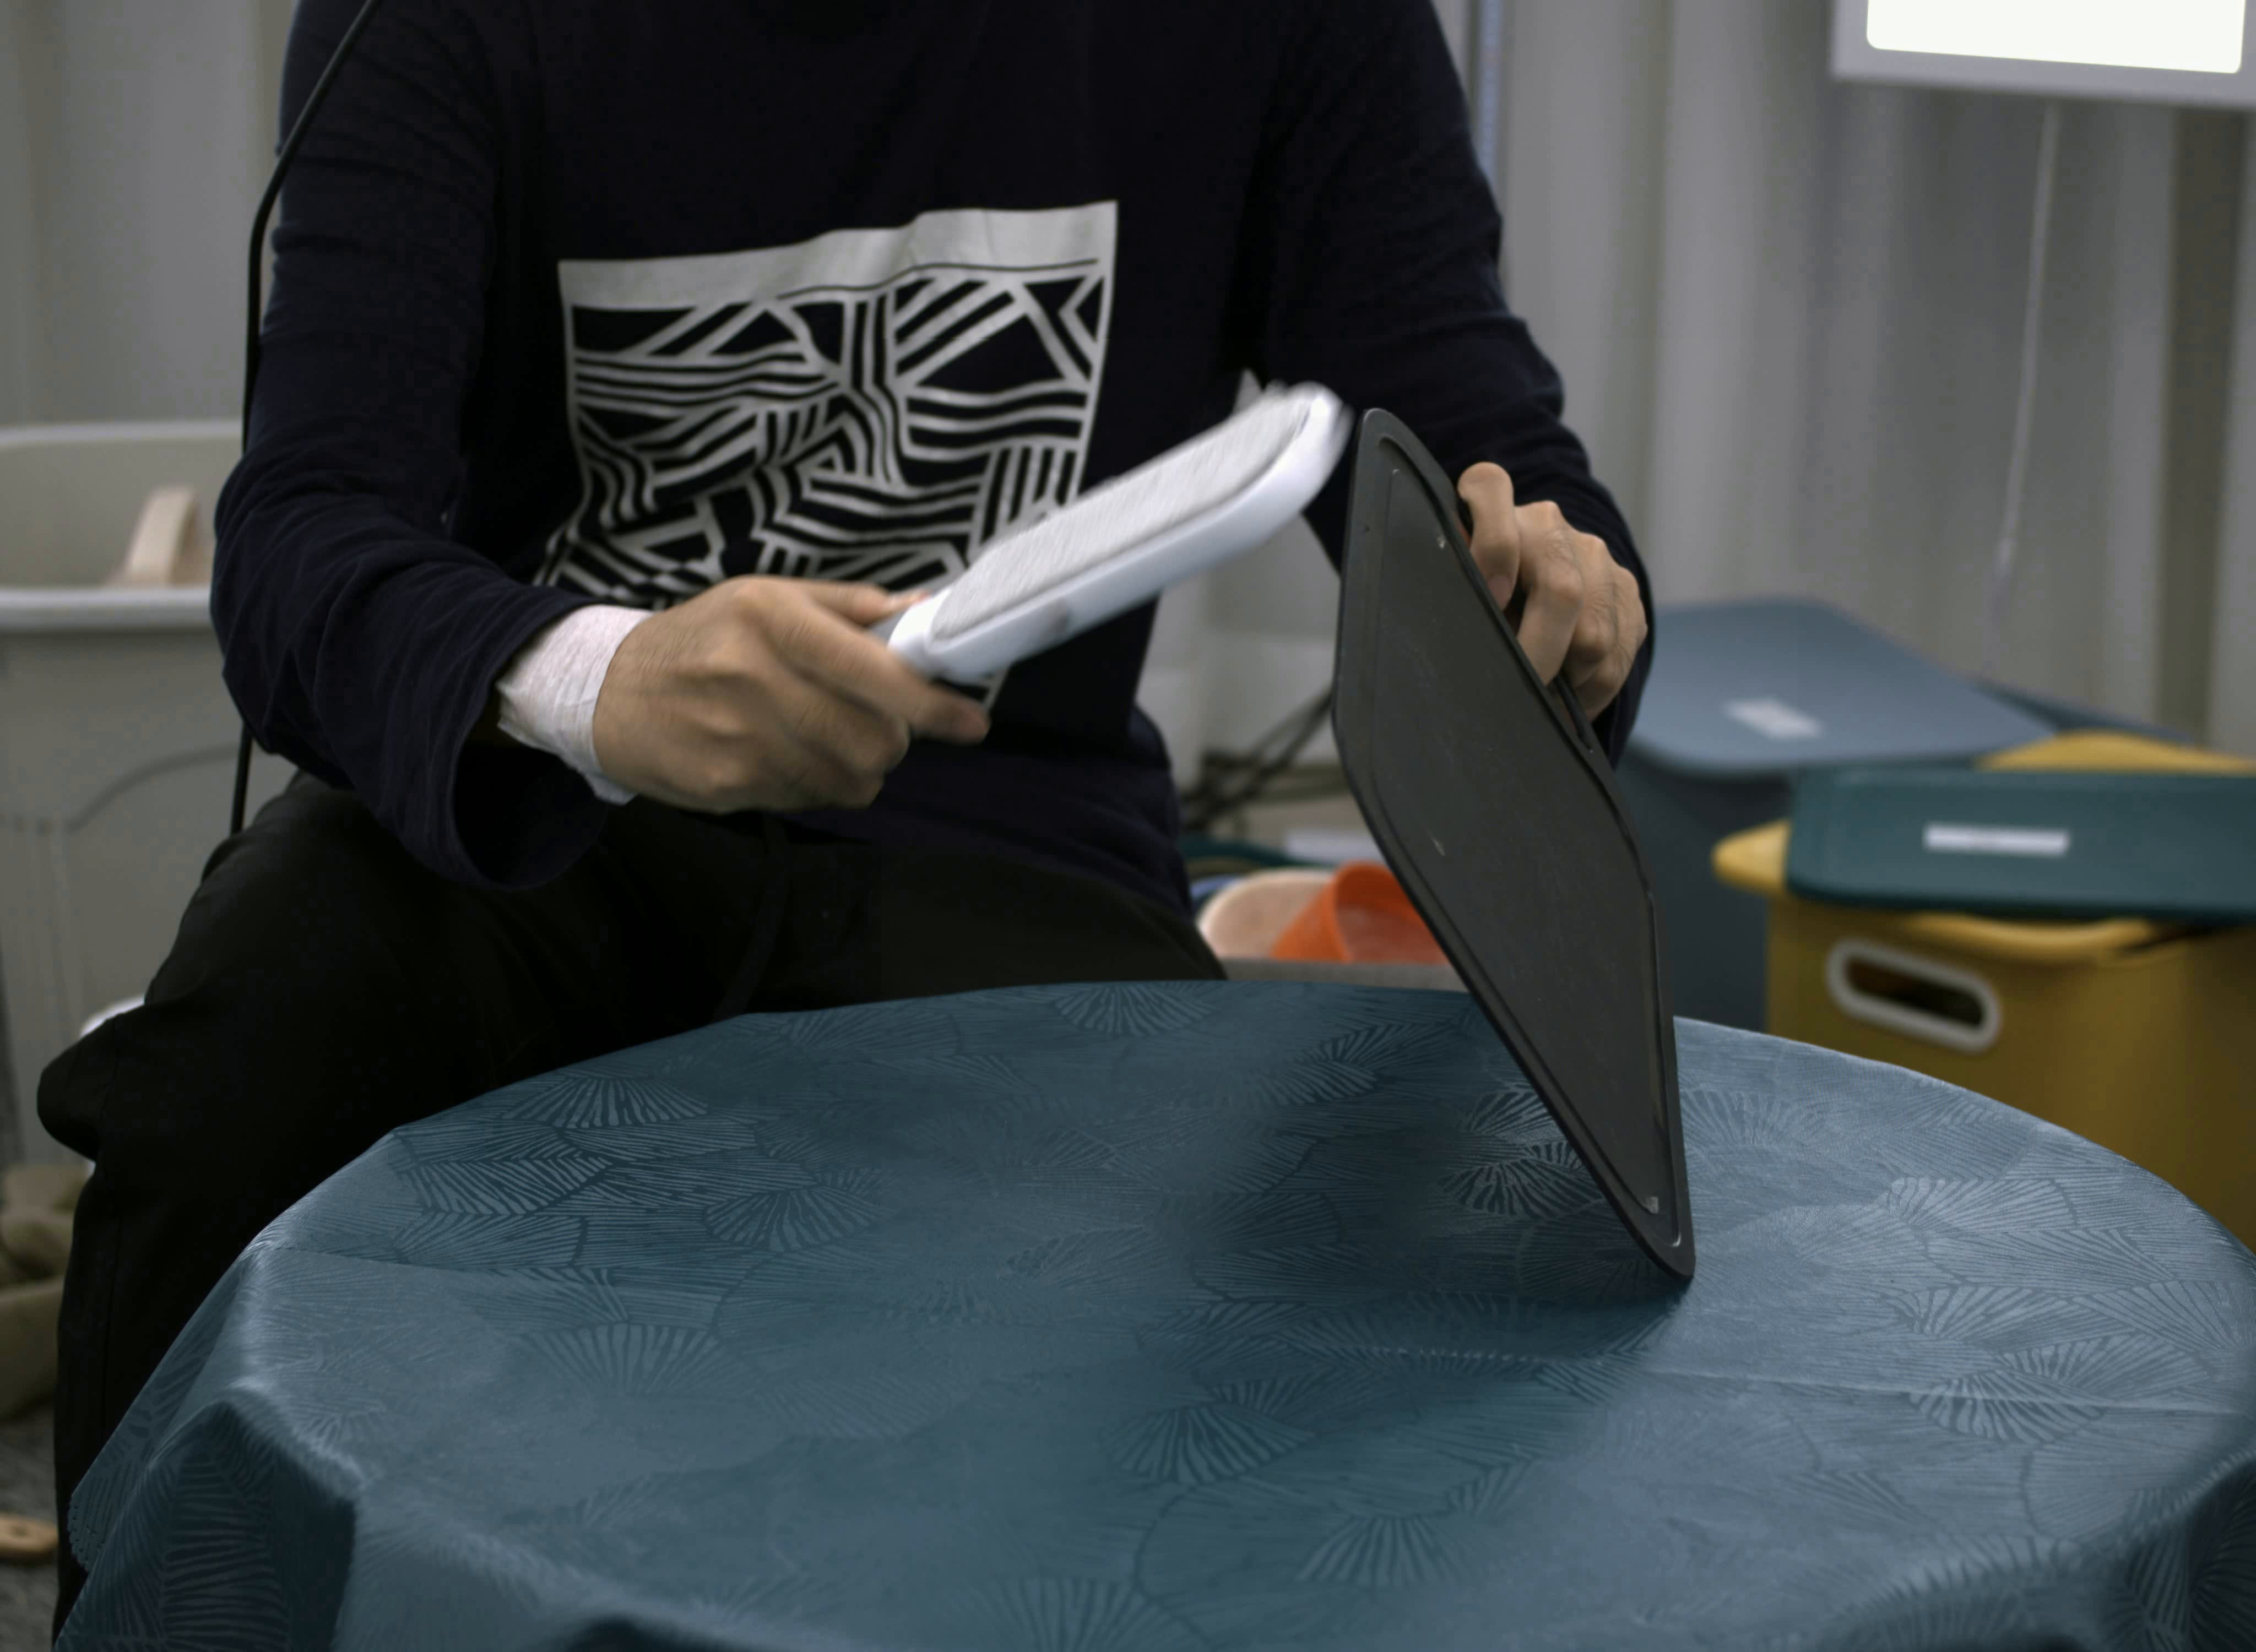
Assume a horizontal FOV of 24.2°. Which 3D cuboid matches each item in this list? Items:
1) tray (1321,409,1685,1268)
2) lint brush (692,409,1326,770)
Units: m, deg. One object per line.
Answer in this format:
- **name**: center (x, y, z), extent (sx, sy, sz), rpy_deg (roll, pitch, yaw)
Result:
- **tray**: center (0.121, -0.008, 1.637), extent (0.010, 0.213, 0.323), rpy_deg (-27, 20, 17)
- **lint brush**: center (-0.043, -0.065, 1.599), extent (0.307, 0.021, 0.060), rpy_deg (-22, 33, 49)
